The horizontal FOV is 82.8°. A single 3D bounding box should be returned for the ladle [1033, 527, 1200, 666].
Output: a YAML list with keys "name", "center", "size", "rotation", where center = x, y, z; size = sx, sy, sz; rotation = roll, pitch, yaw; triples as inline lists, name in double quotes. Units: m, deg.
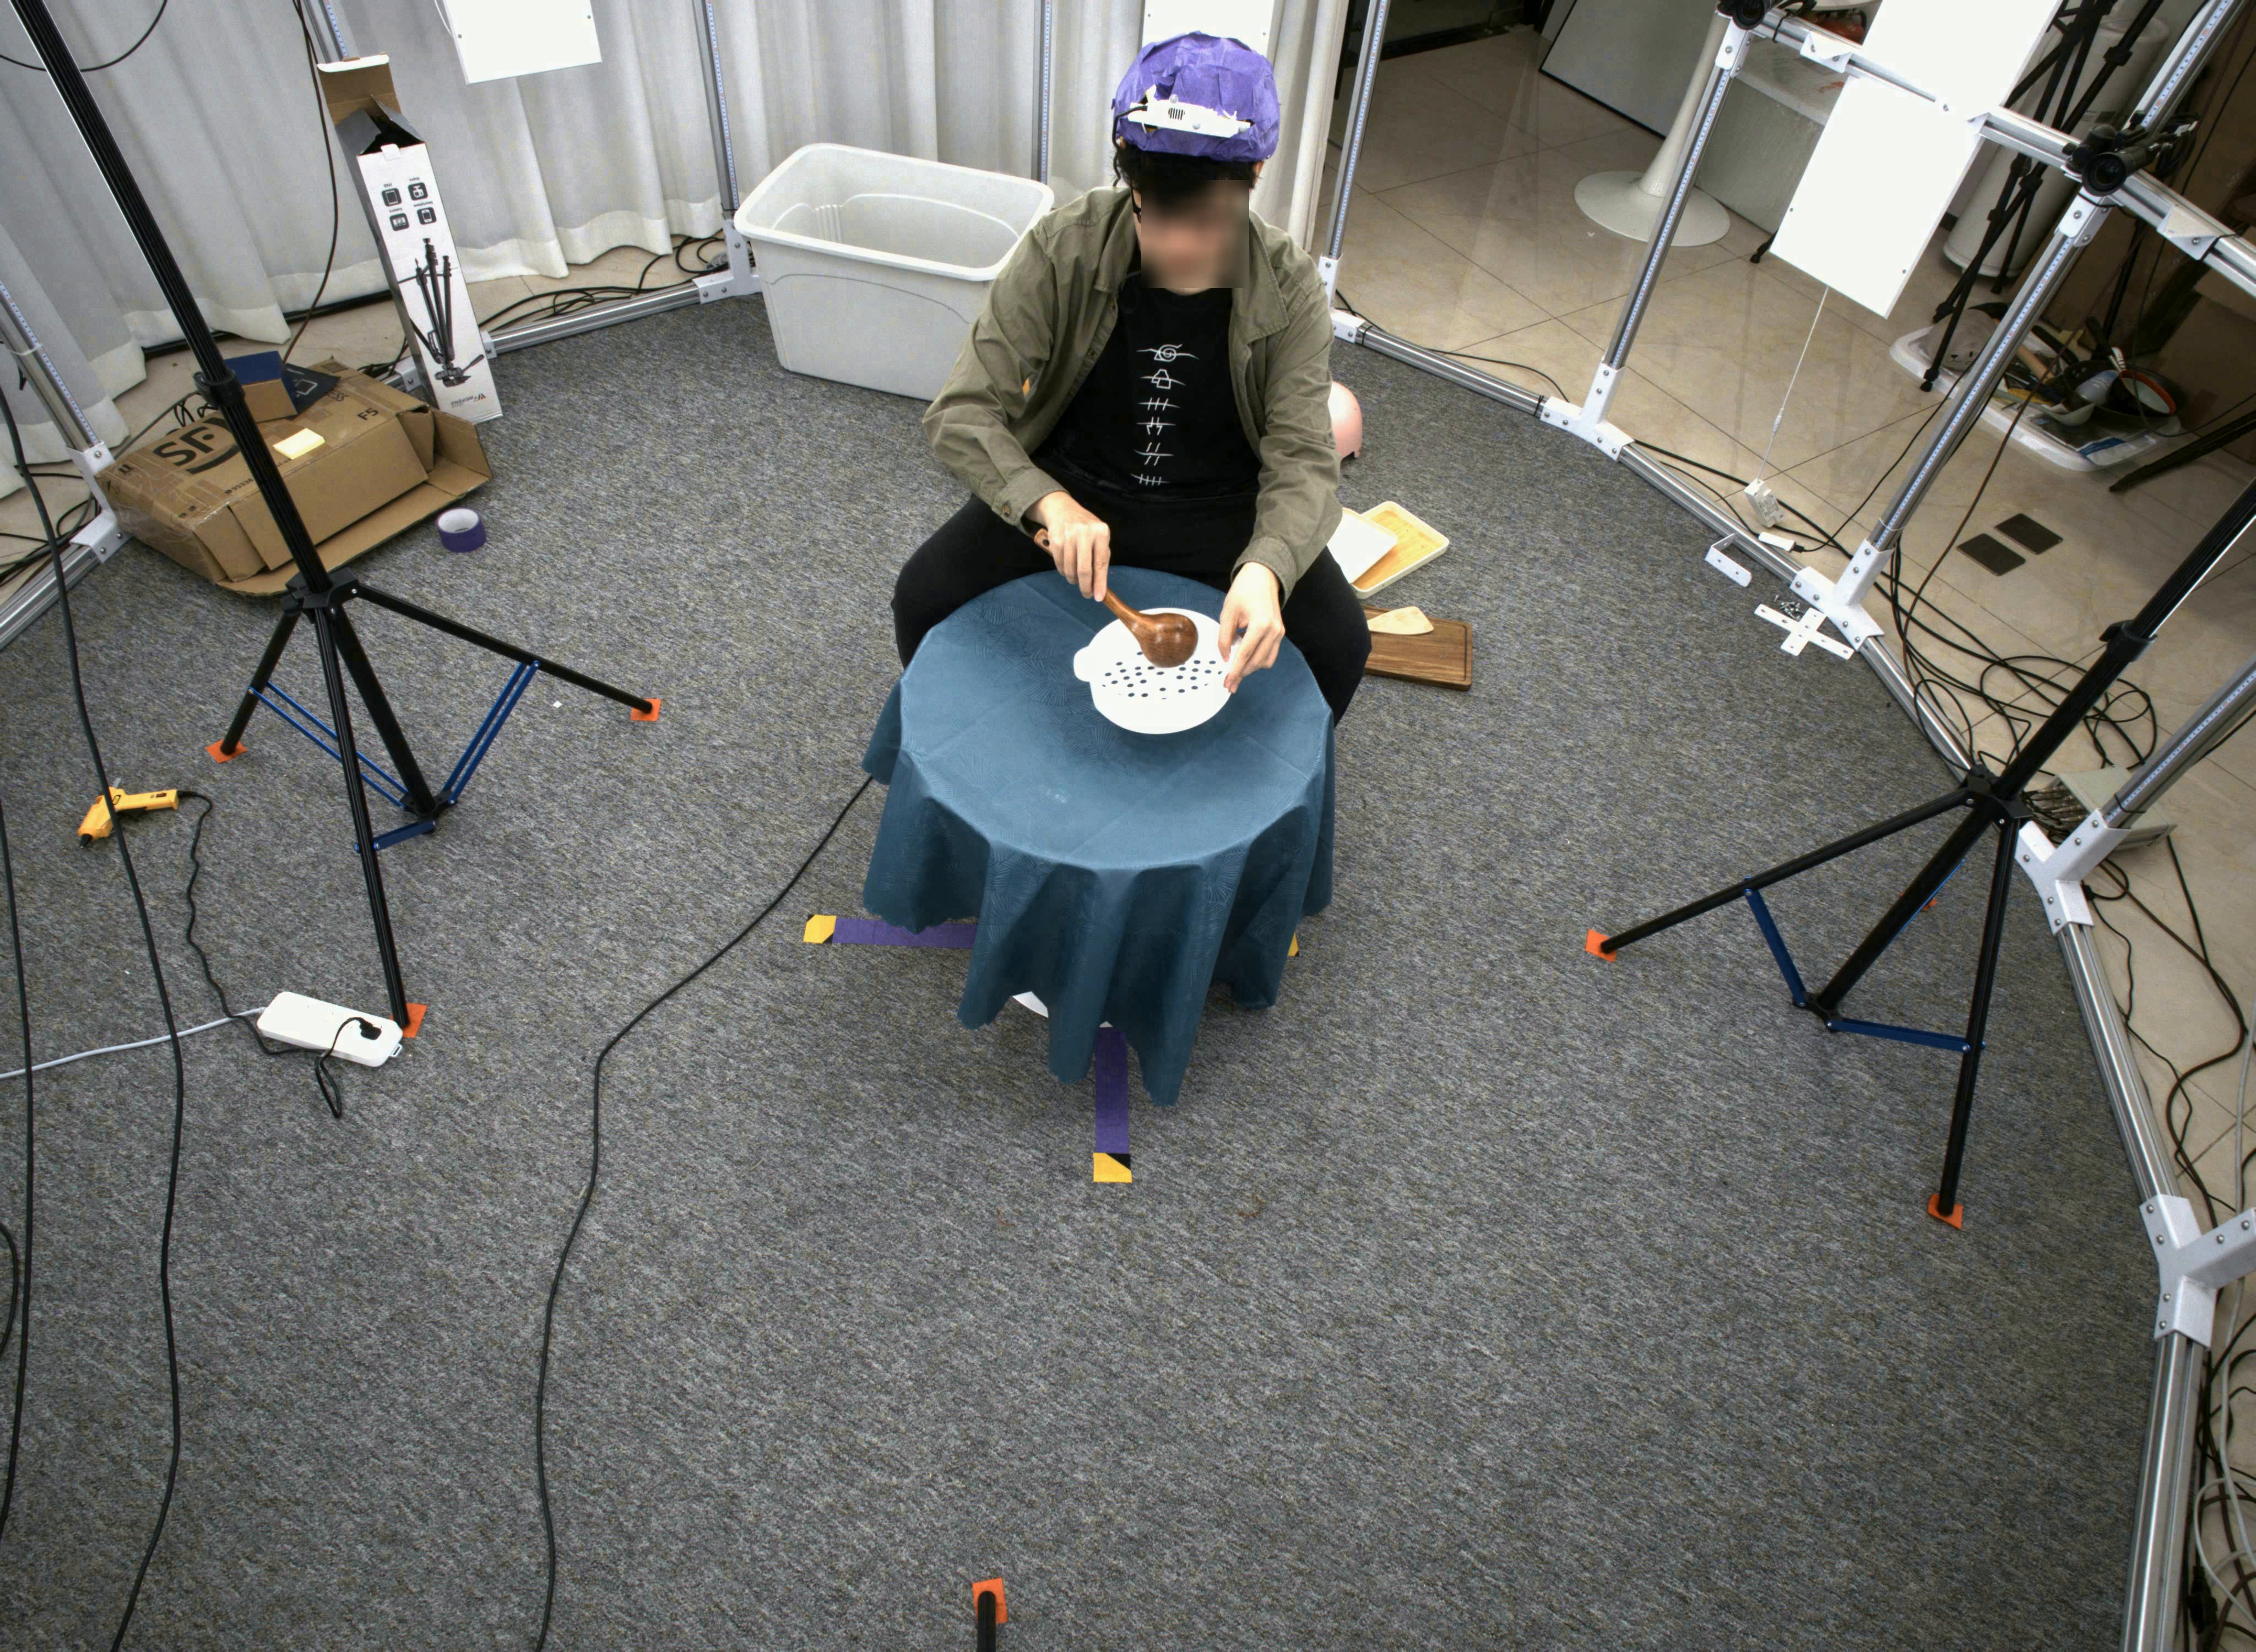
- name: "ladle"
  center: [-0.014, -0.321, 1.755]
  size: [0.278, 0.081, 0.076]
  rotation: [45, 28, 21]

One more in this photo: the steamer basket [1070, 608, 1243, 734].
- name: "steamer basket"
  center: [0.040, -0.208, 1.727]
  size: [0.230, 0.067, 0.207]
  rotation: [-6, 45, 1]
